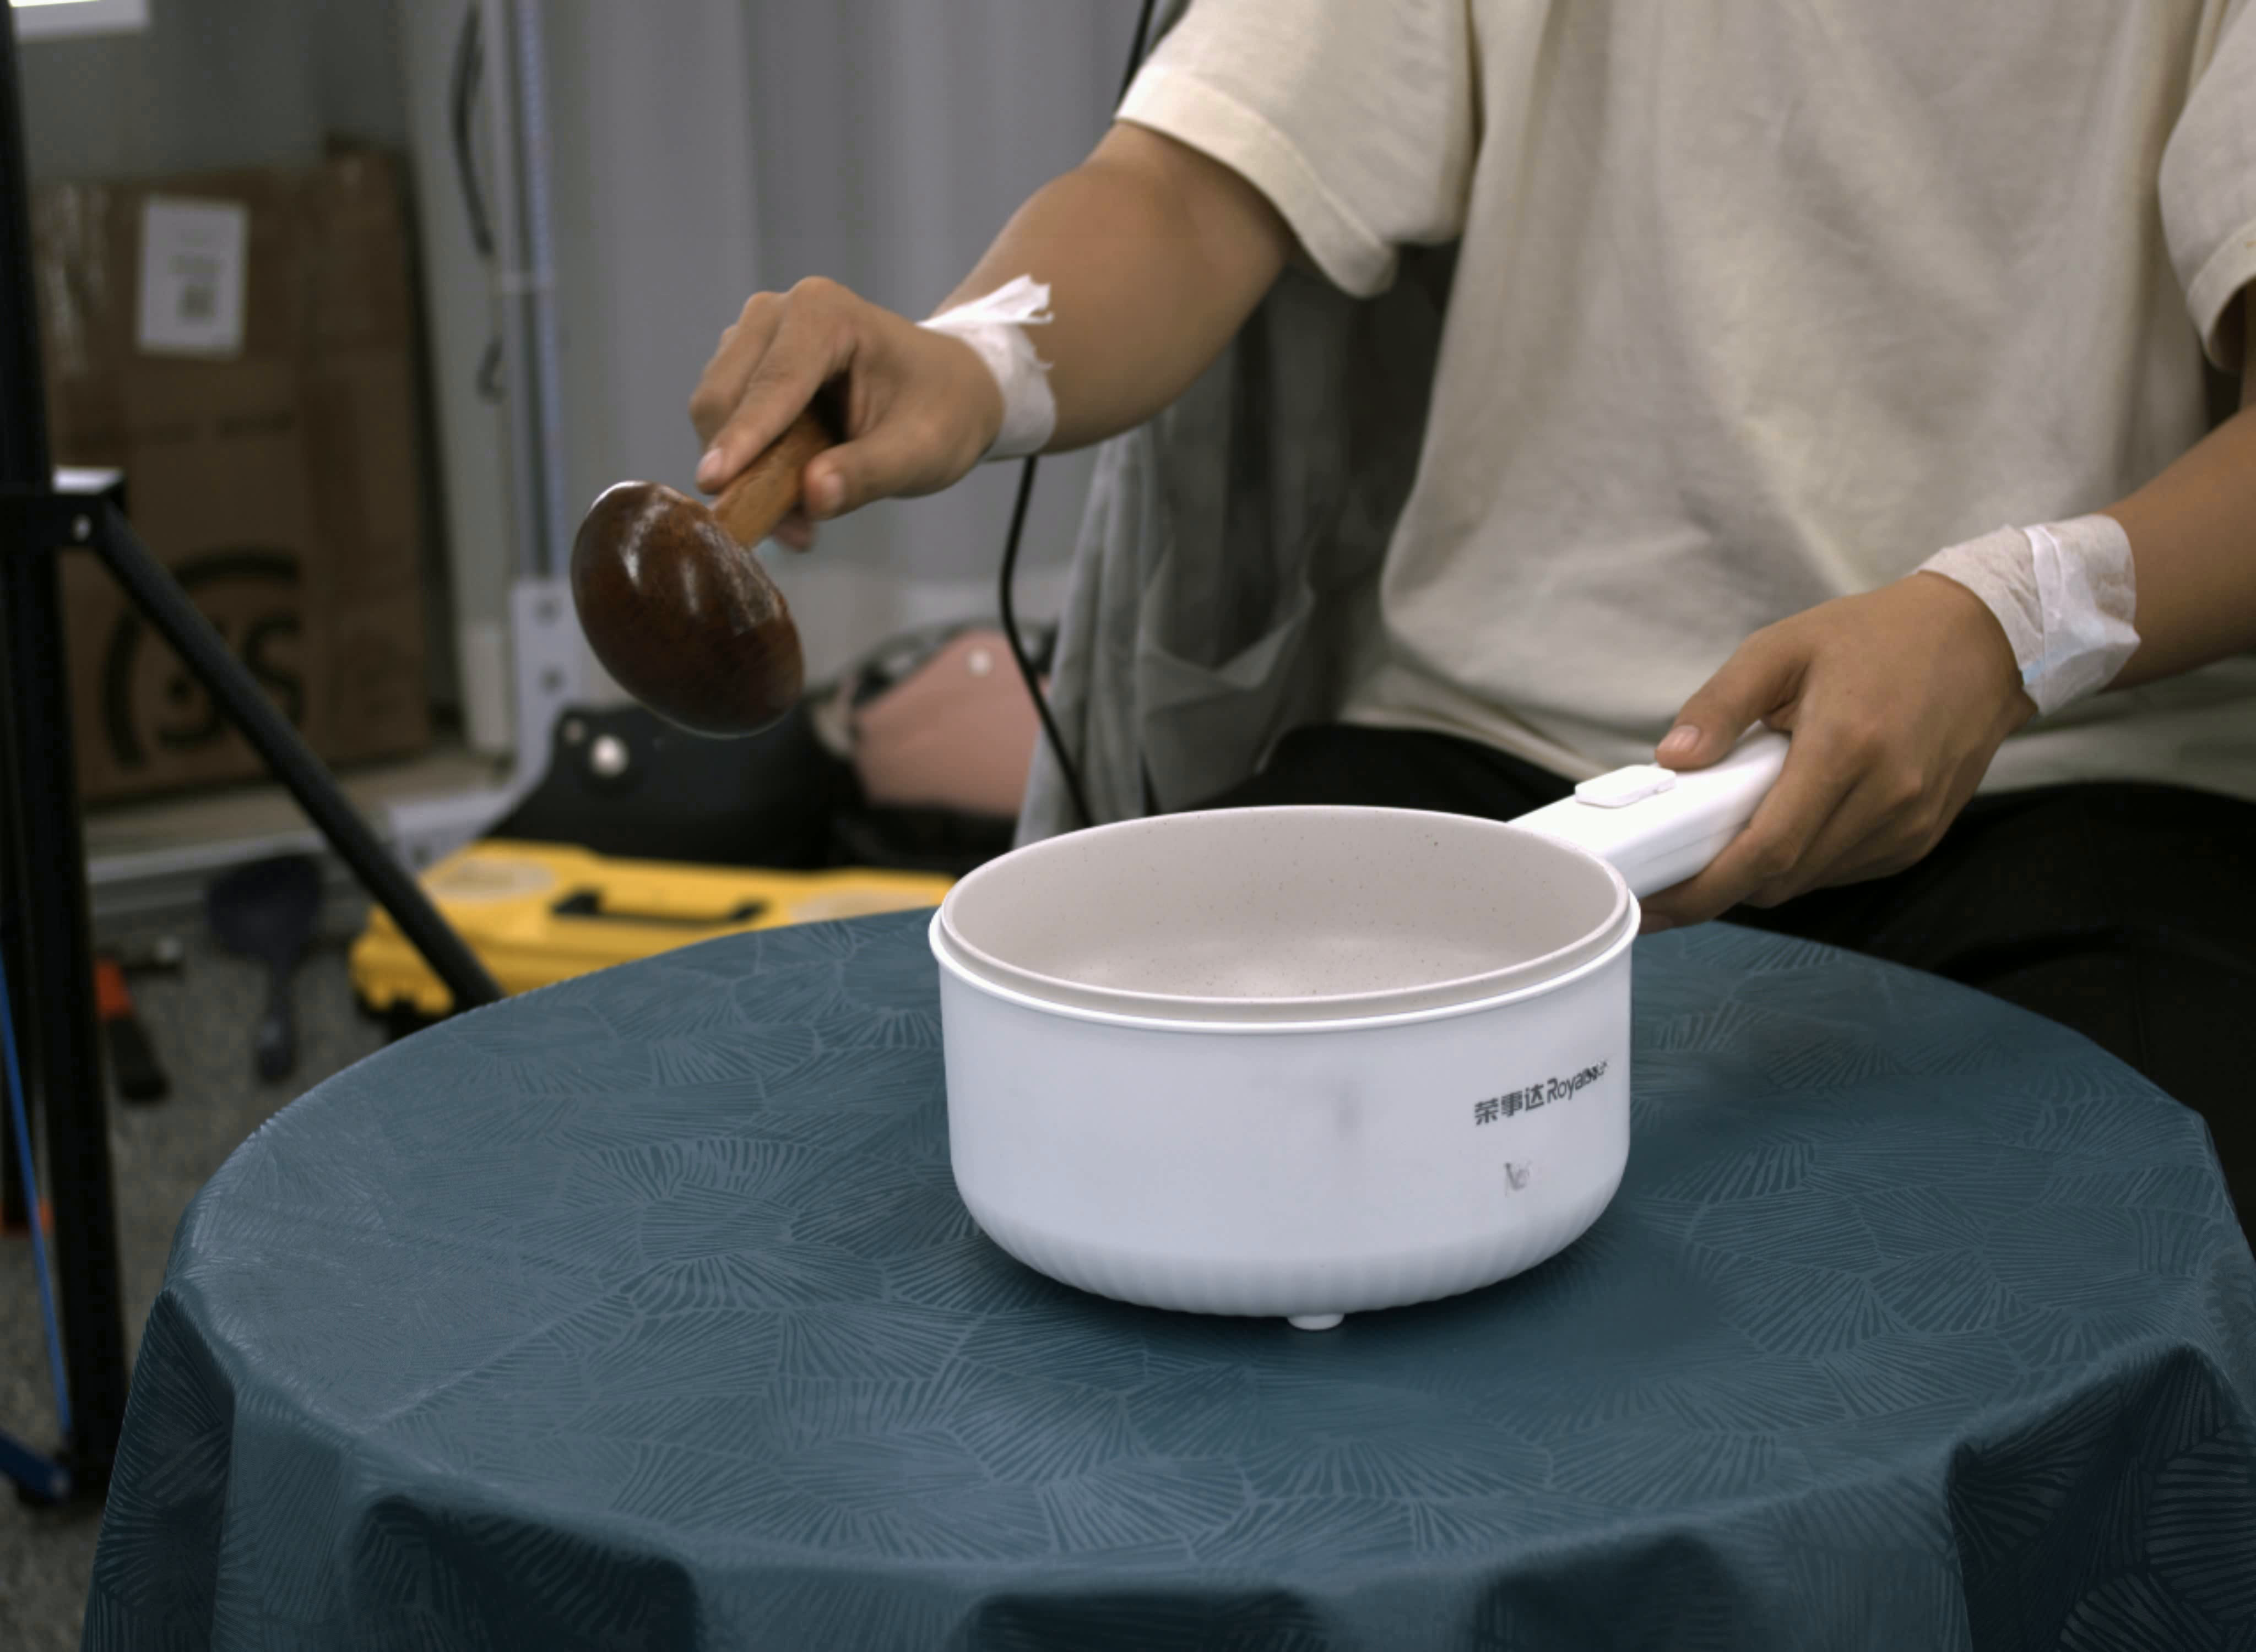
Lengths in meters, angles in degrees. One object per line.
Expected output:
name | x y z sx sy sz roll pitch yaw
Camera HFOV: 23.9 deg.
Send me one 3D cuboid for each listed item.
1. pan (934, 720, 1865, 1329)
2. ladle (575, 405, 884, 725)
pan | 0.098 0.052 1.557 0.206 0.102 0.347 11 20 42
ladle | -0.098 -0.099 1.588 0.077 0.081 0.272 -28 10 23
